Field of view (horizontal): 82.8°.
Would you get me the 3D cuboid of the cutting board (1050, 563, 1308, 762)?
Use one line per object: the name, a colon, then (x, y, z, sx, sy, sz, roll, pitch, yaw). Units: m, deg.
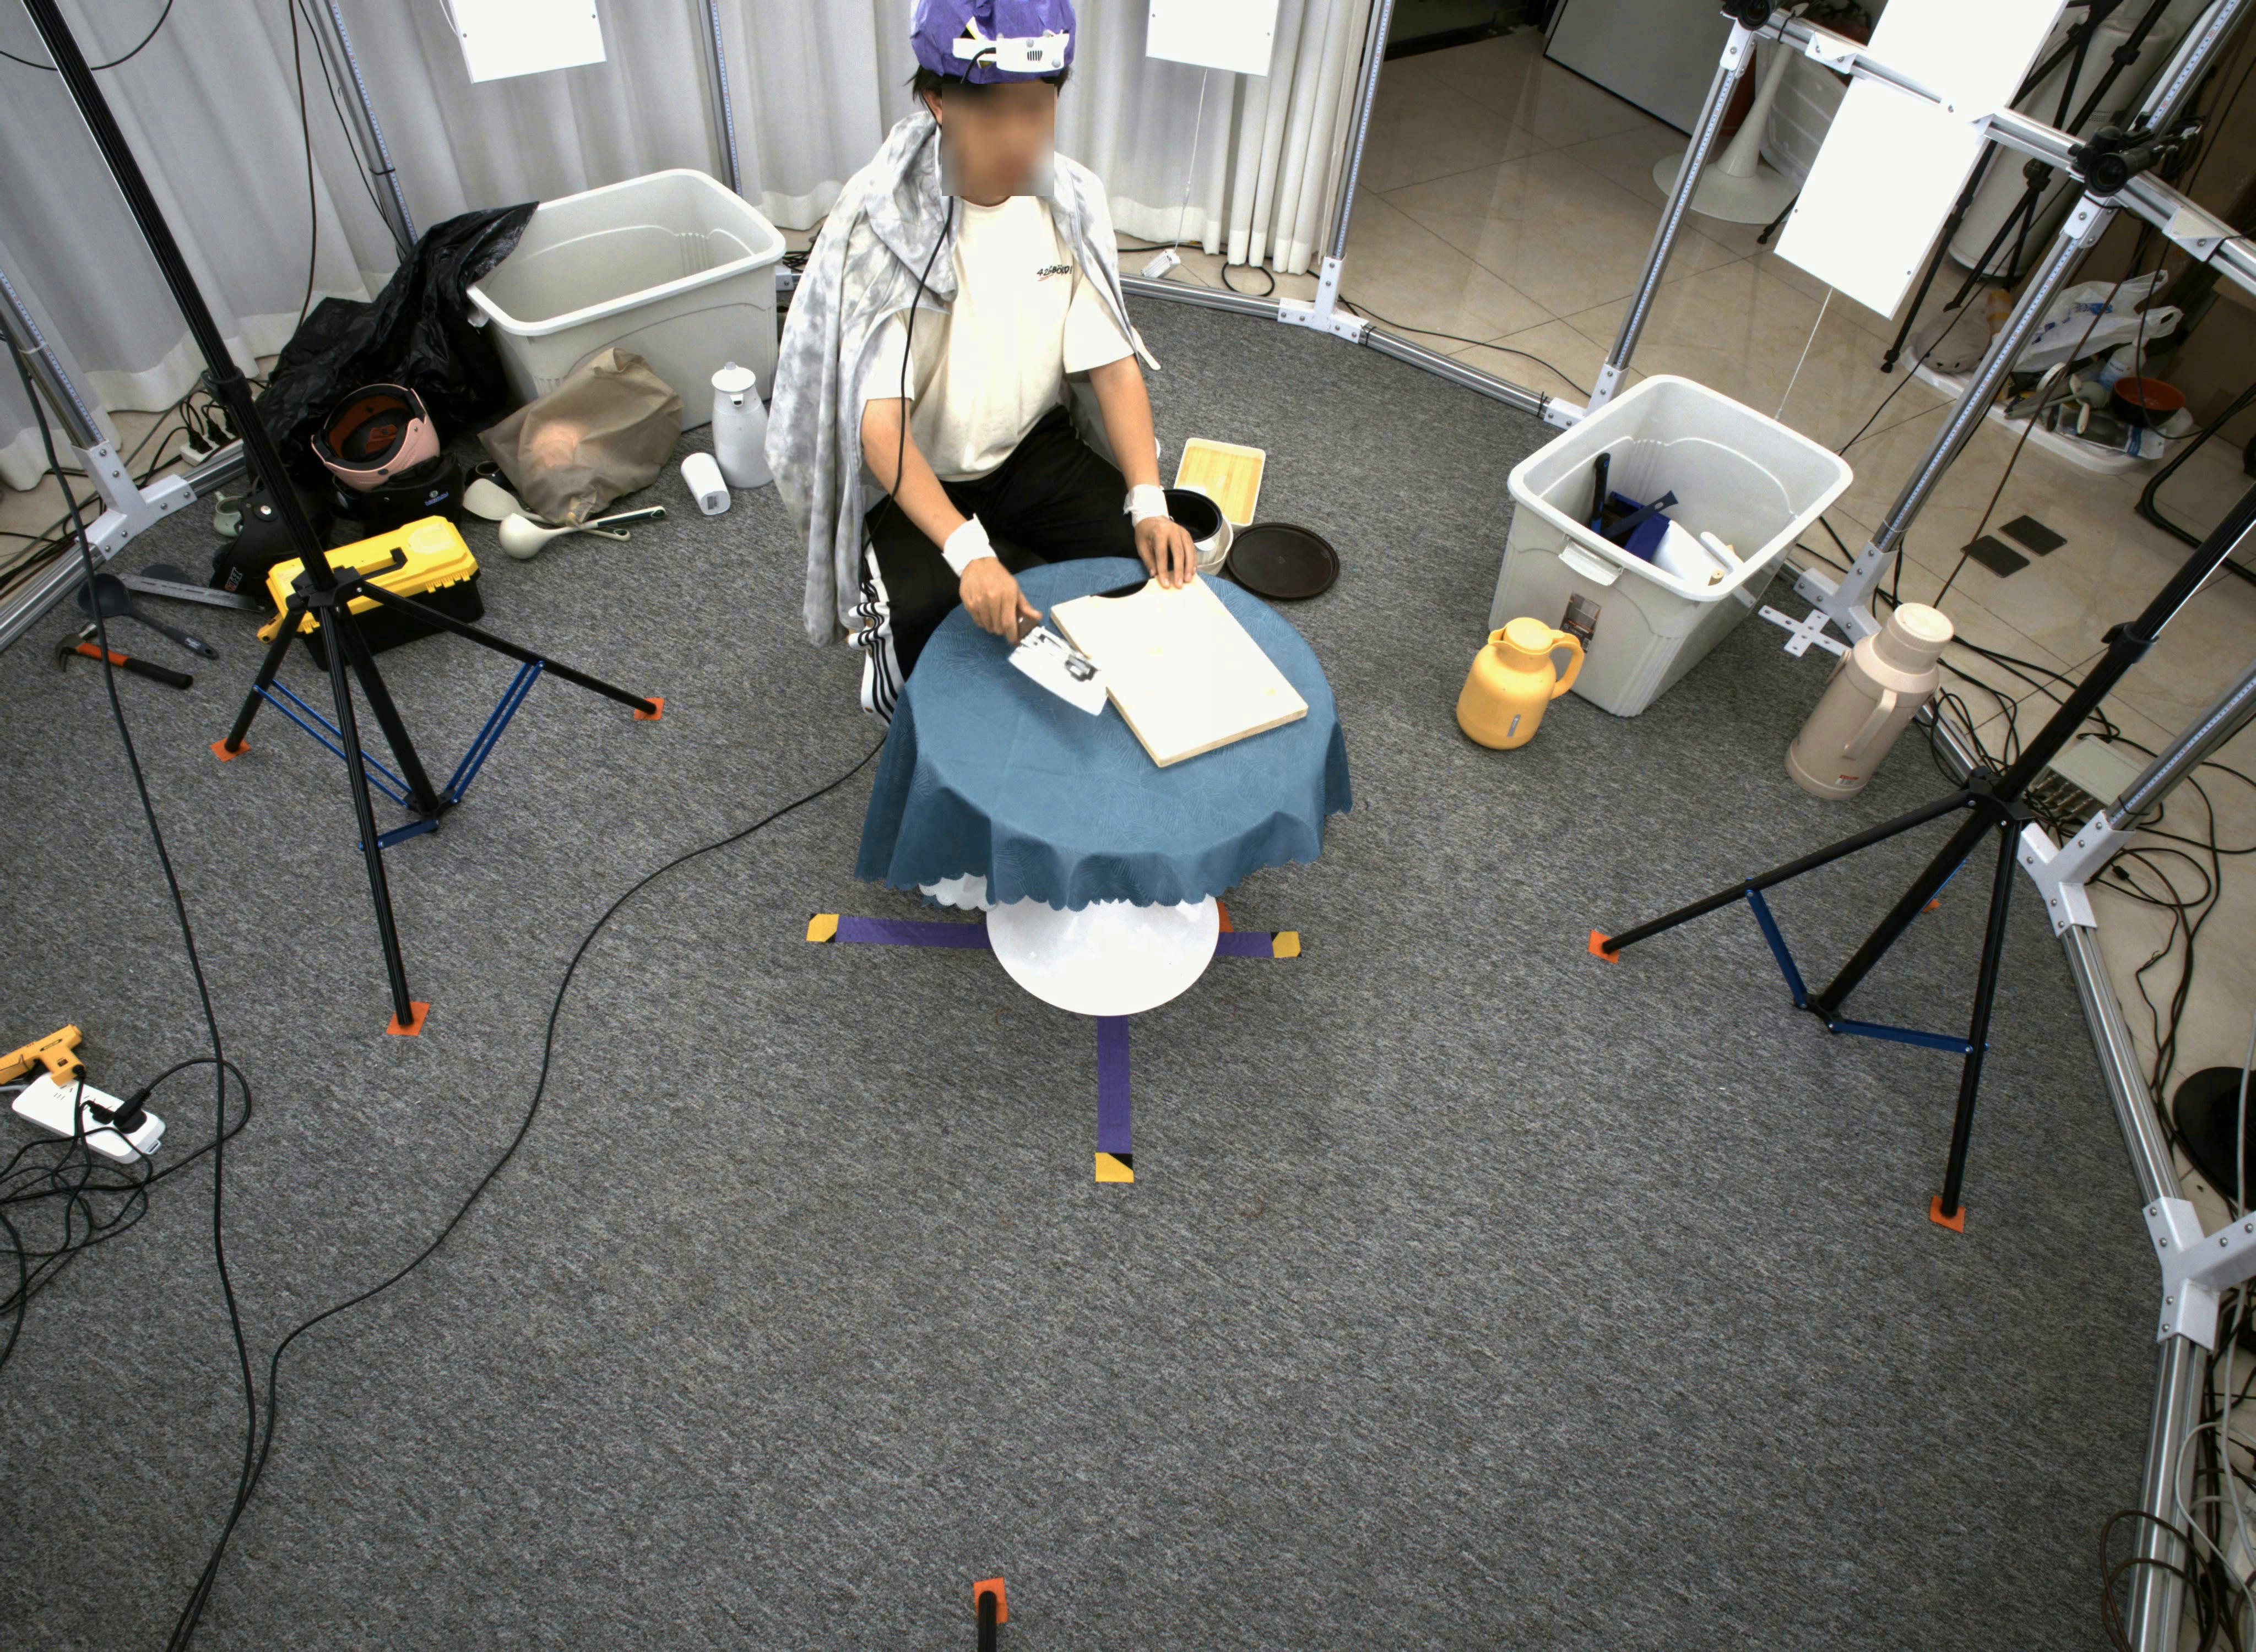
cutting board: (0.068, -0.245, 1.868, 0.251, 0.023, 0.356, -20, 53, -21)

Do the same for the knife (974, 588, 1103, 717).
knife: (-0.132, -0.245, 1.797, 0.304, 0.023, 0.068, 39, 84, 31)
